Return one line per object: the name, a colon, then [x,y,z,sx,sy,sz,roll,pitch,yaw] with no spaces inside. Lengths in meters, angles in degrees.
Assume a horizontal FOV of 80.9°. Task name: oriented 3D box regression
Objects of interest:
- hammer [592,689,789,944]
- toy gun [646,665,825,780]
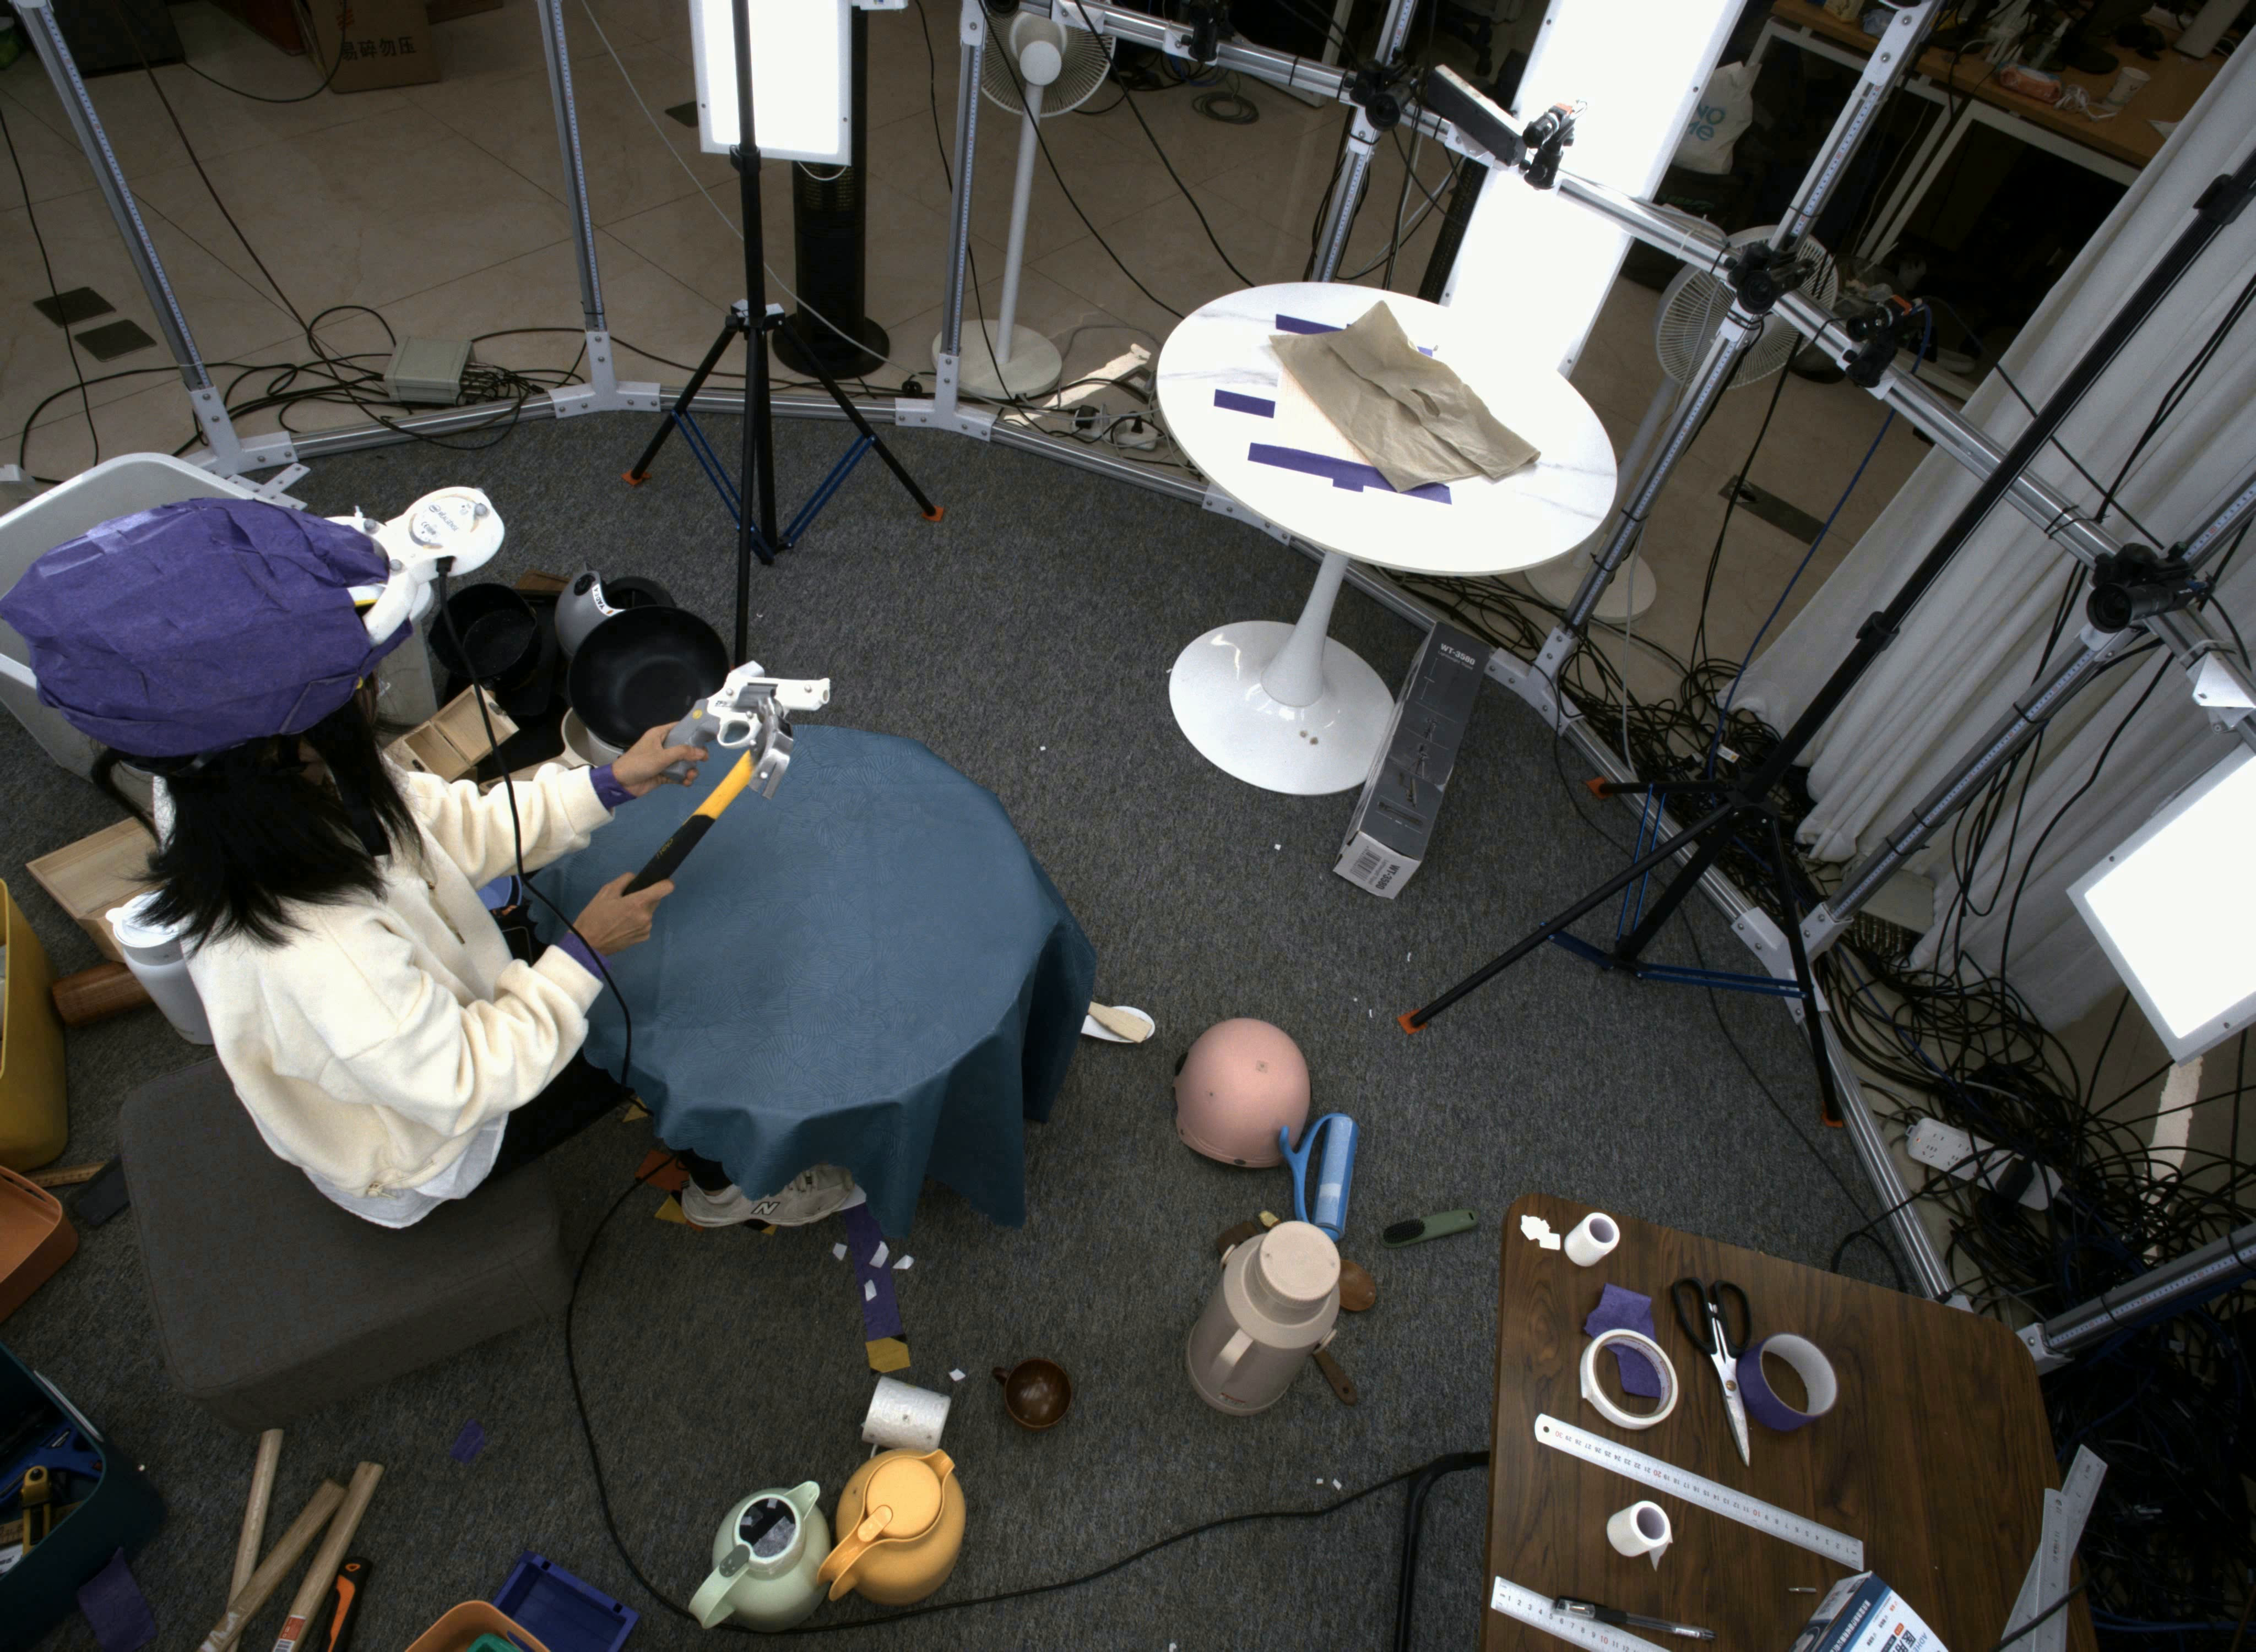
hammer: [-0.497,0.001,1.443,0.033,0.338,0.127,36,12,-41]
toy gun: [-0.464,-0.124,1.520,0.204,0.040,0.140,2,66,15]
